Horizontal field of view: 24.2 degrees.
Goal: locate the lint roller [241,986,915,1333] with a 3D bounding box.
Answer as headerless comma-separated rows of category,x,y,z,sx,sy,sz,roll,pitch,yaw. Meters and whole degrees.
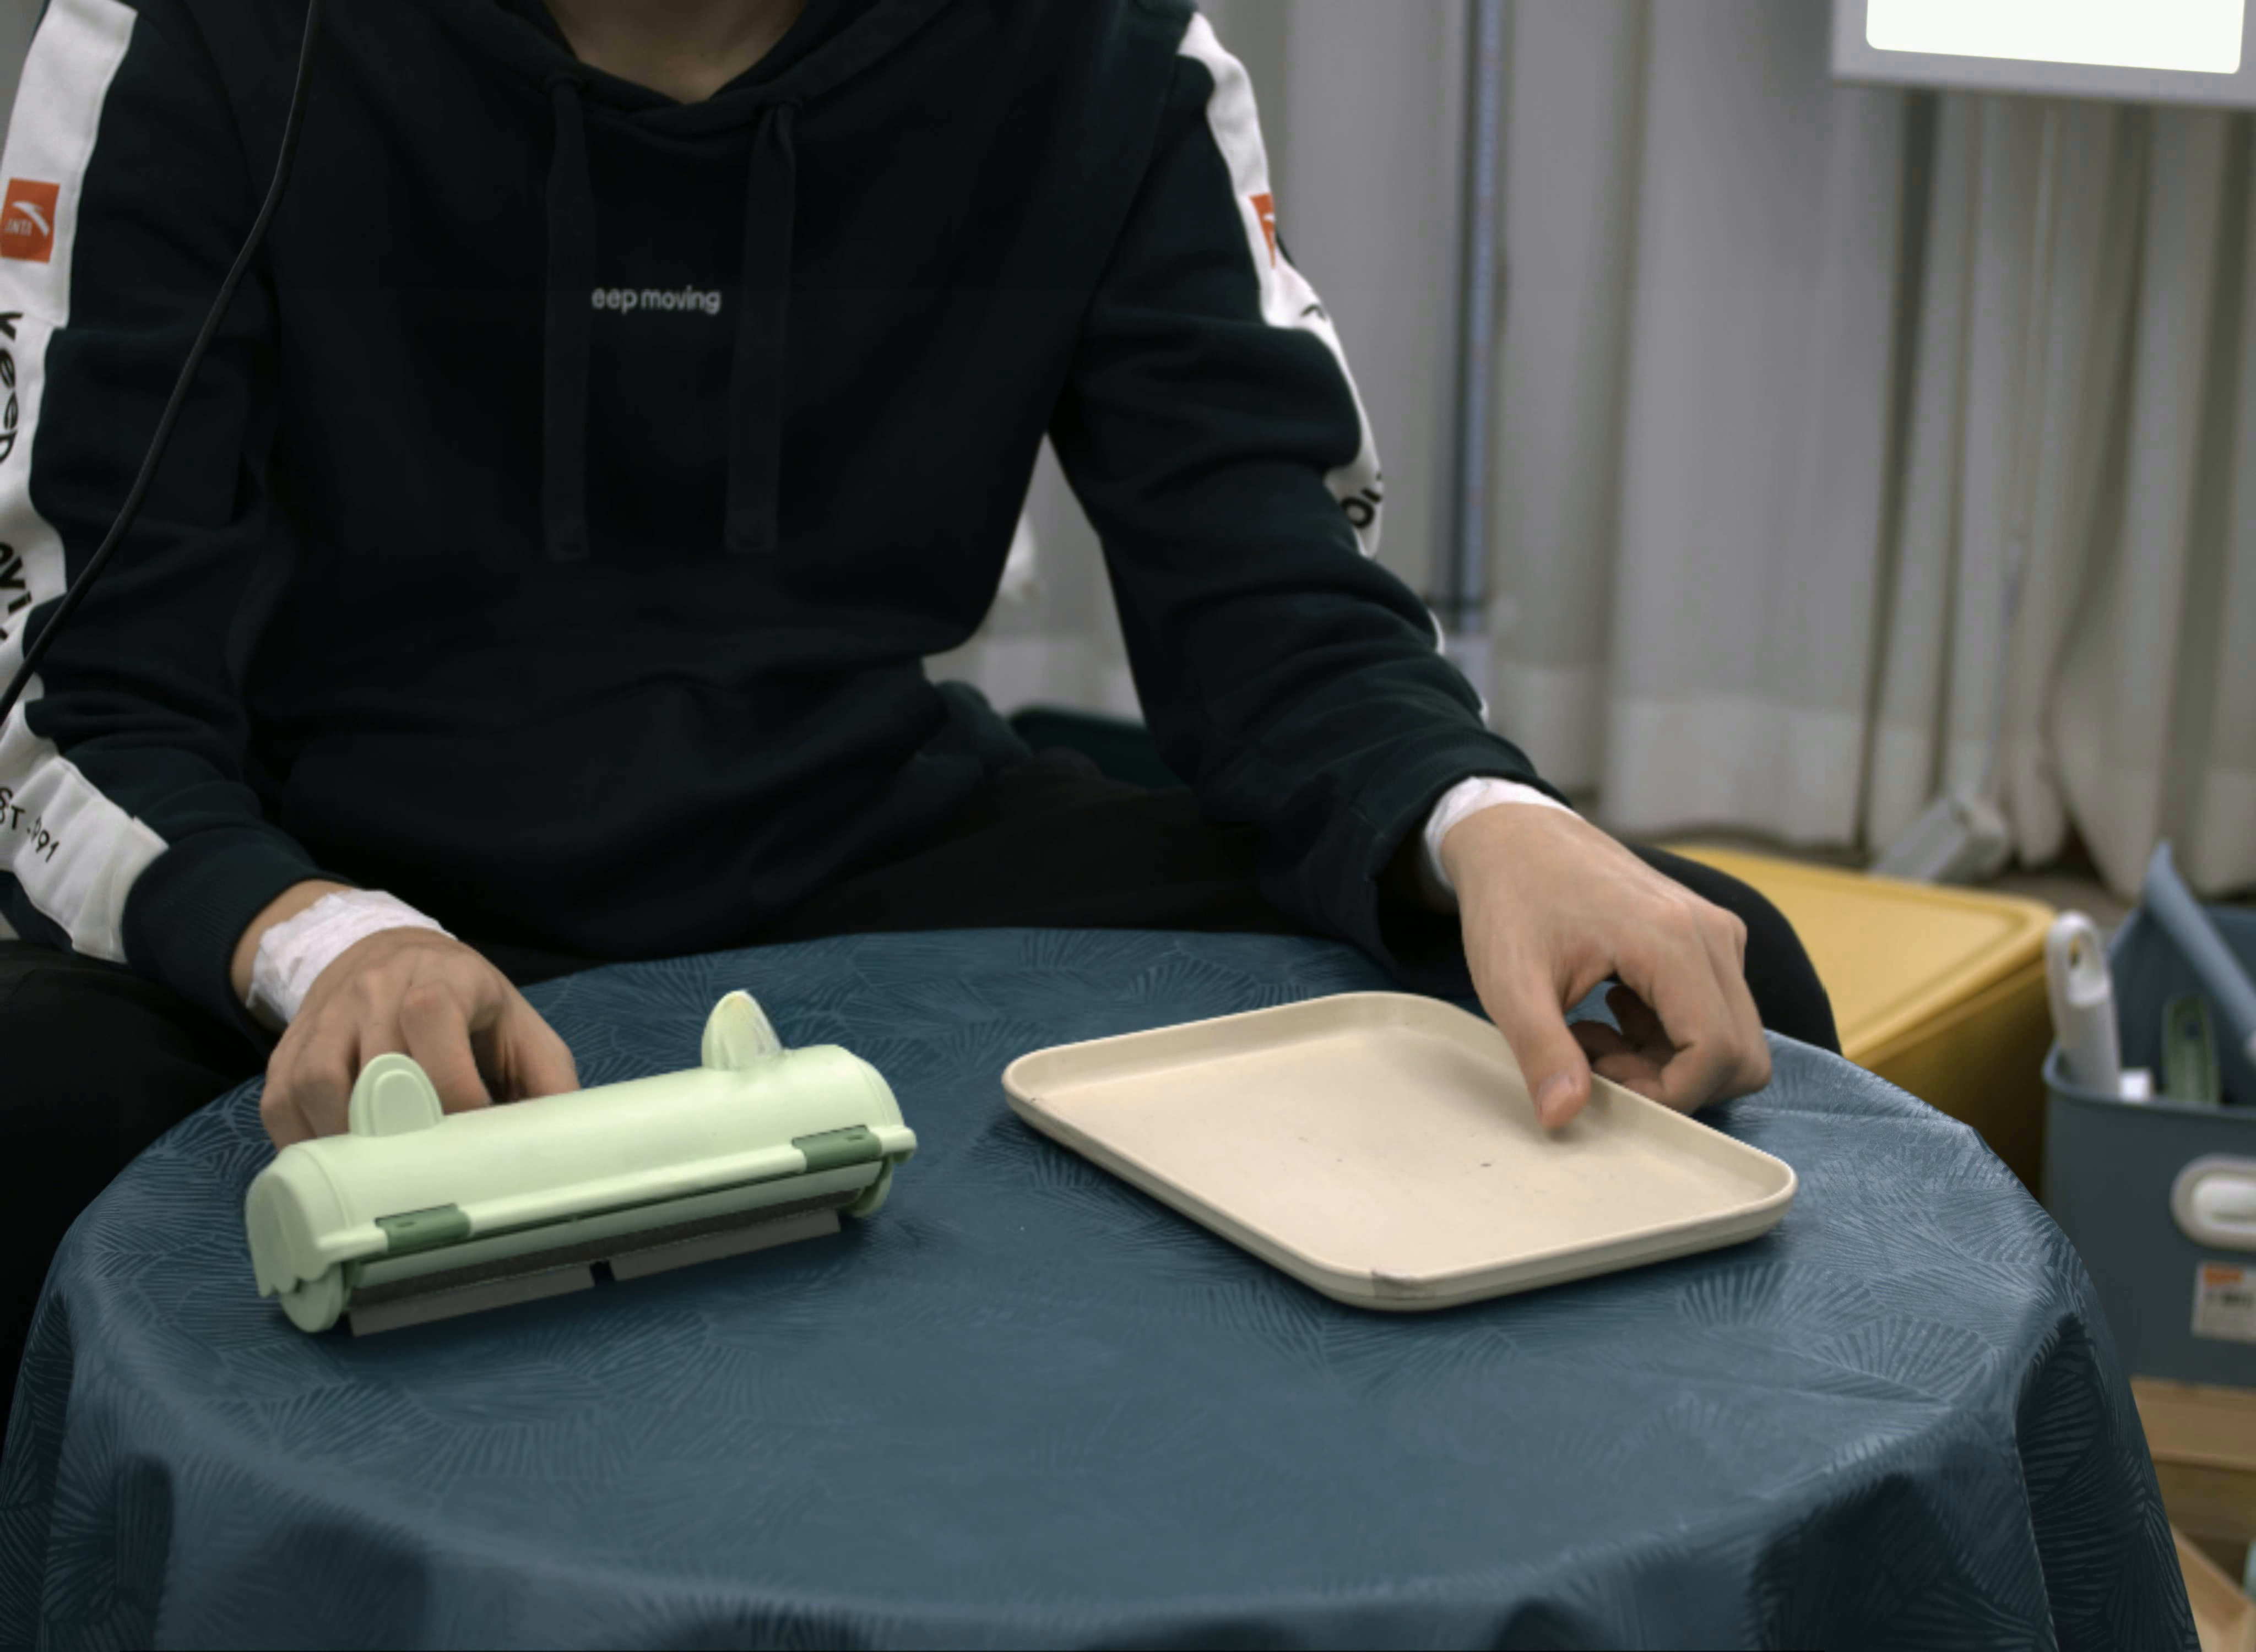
lint roller,-0.190,0.082,1.579,0.199,0.083,0.181,-10,23,-32

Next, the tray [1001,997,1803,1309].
tray,0.081,0.100,1.634,0.172,0.017,0.236,-8,18,-30
